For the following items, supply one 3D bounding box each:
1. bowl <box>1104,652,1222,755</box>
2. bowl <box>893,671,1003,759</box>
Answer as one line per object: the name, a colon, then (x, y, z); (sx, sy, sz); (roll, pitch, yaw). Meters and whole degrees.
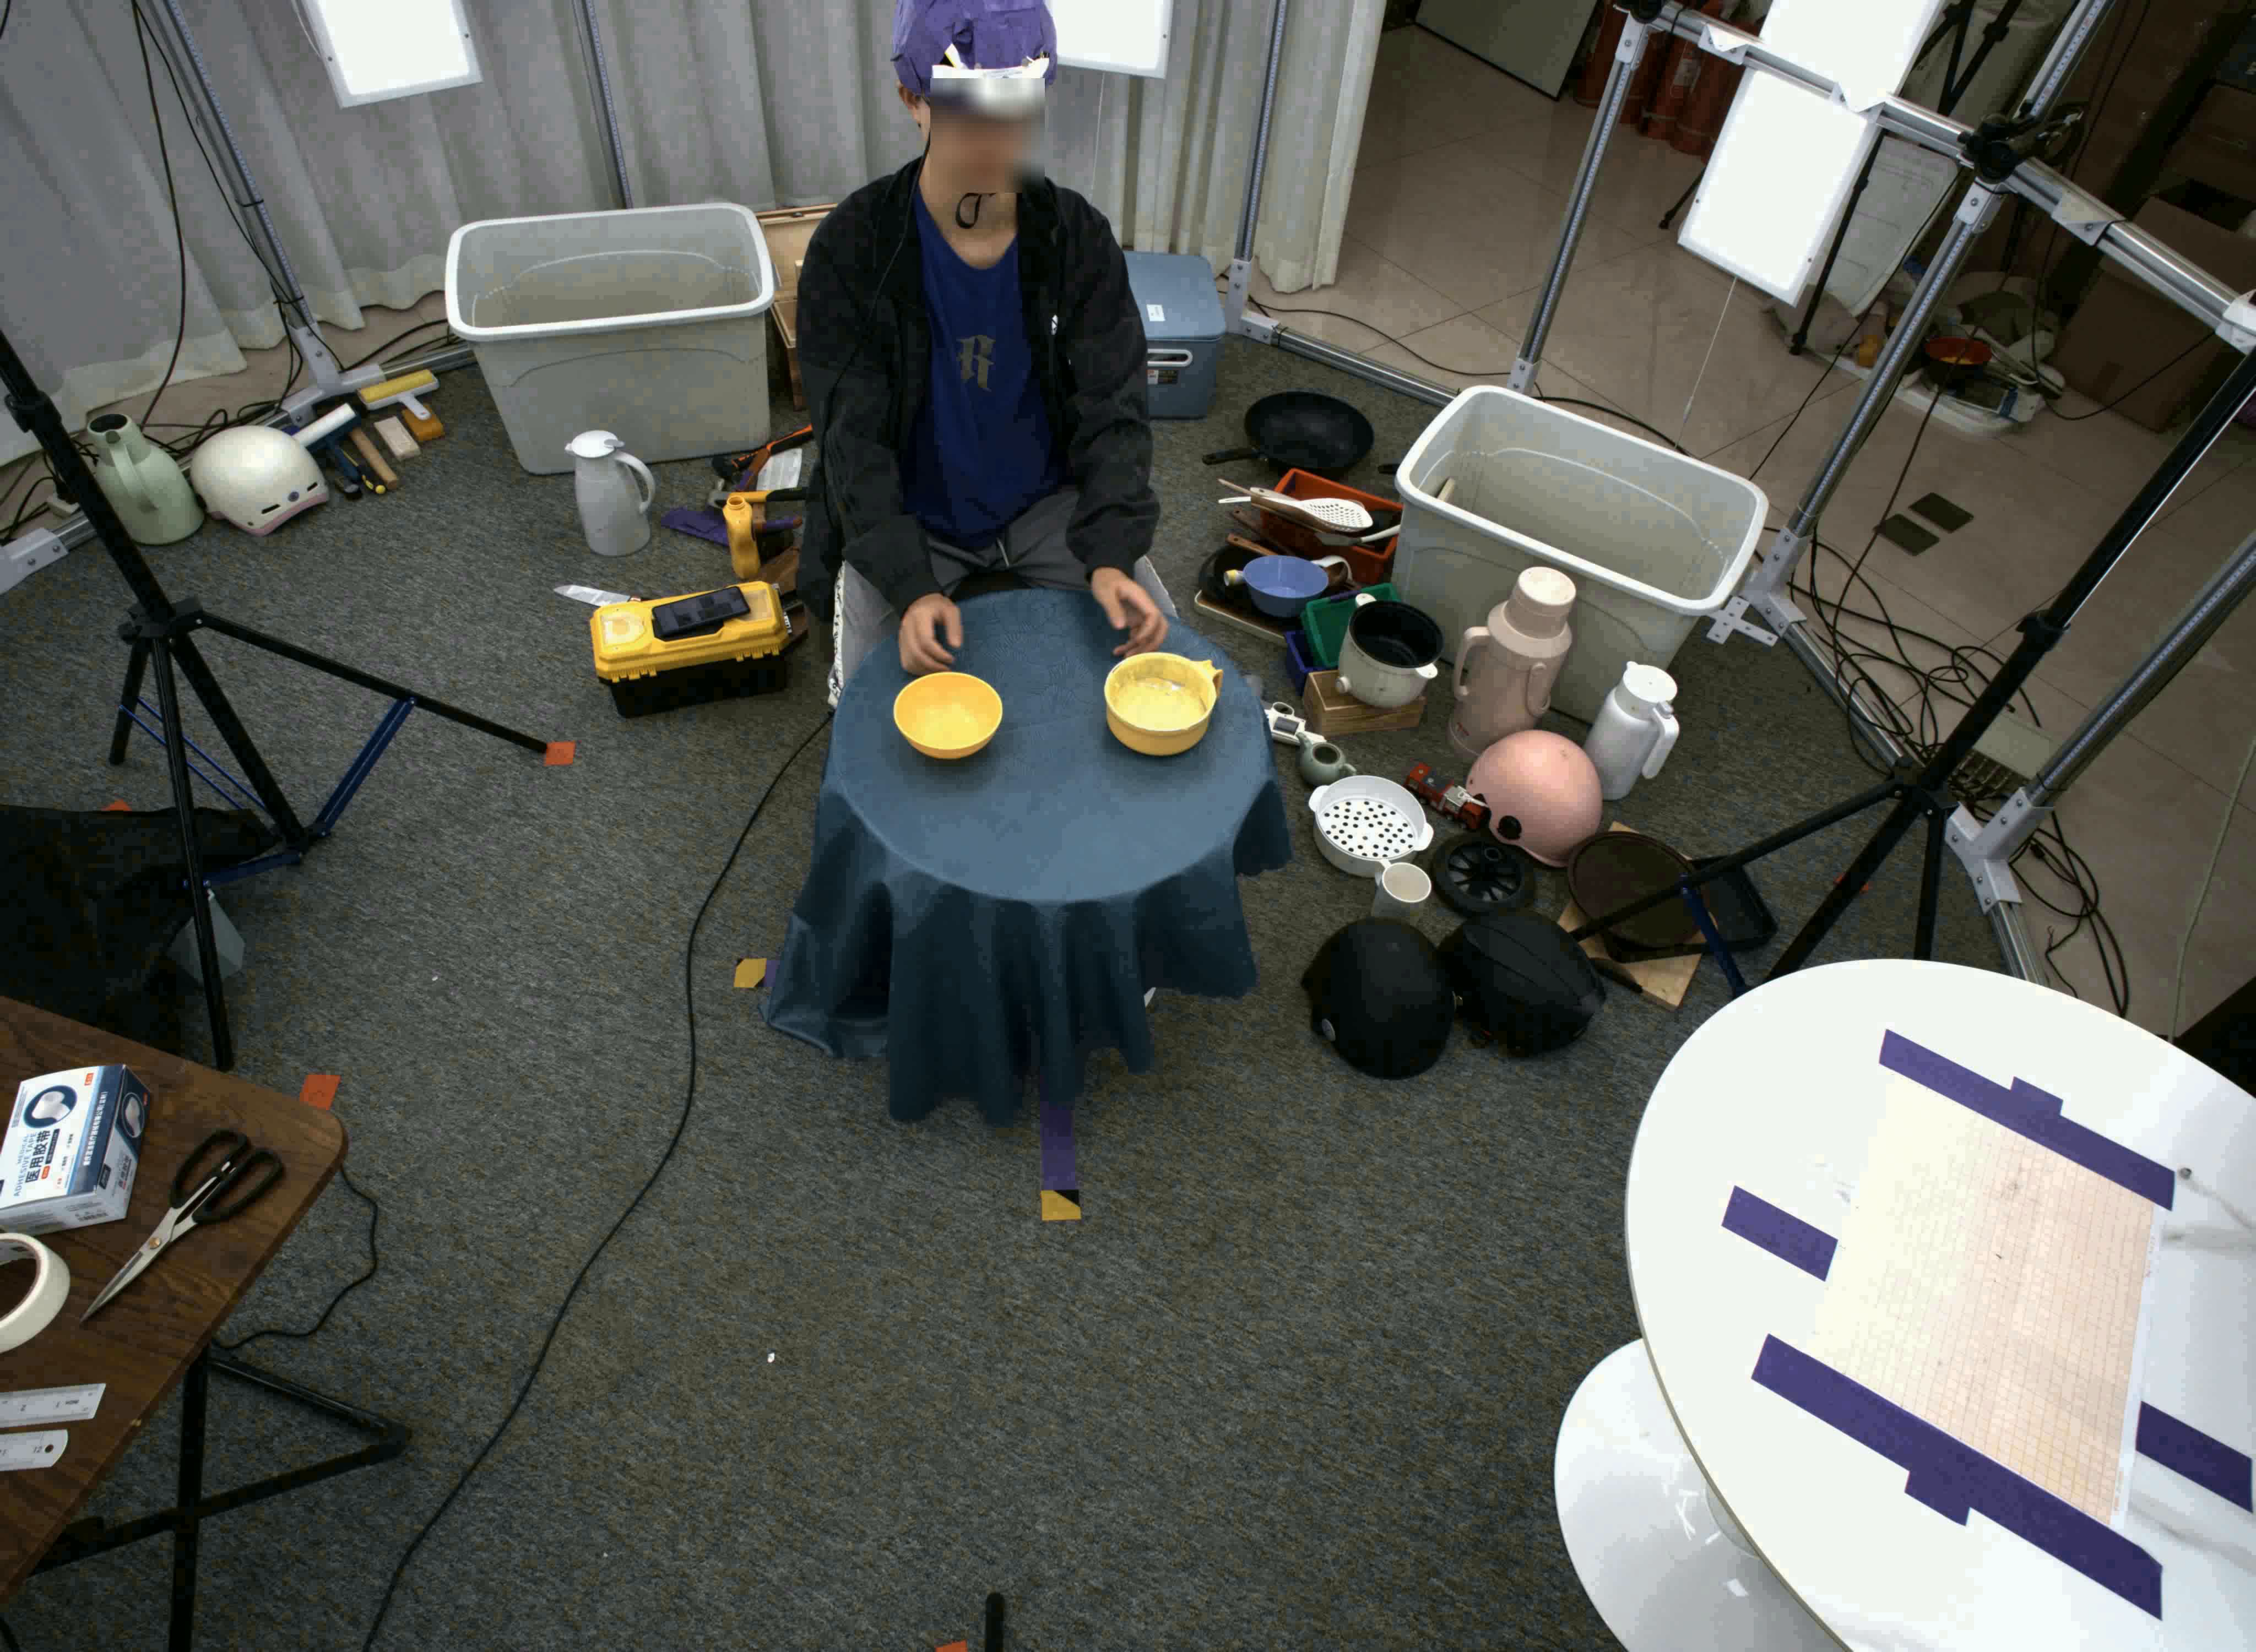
bowl: (0.054, -0.171, 1.779); (0.180, 0.072, 0.155); (-33, 57, -26)
bowl: (-0.243, -0.139, 1.740); (0.145, 0.059, 0.149); (3, 50, -4)
